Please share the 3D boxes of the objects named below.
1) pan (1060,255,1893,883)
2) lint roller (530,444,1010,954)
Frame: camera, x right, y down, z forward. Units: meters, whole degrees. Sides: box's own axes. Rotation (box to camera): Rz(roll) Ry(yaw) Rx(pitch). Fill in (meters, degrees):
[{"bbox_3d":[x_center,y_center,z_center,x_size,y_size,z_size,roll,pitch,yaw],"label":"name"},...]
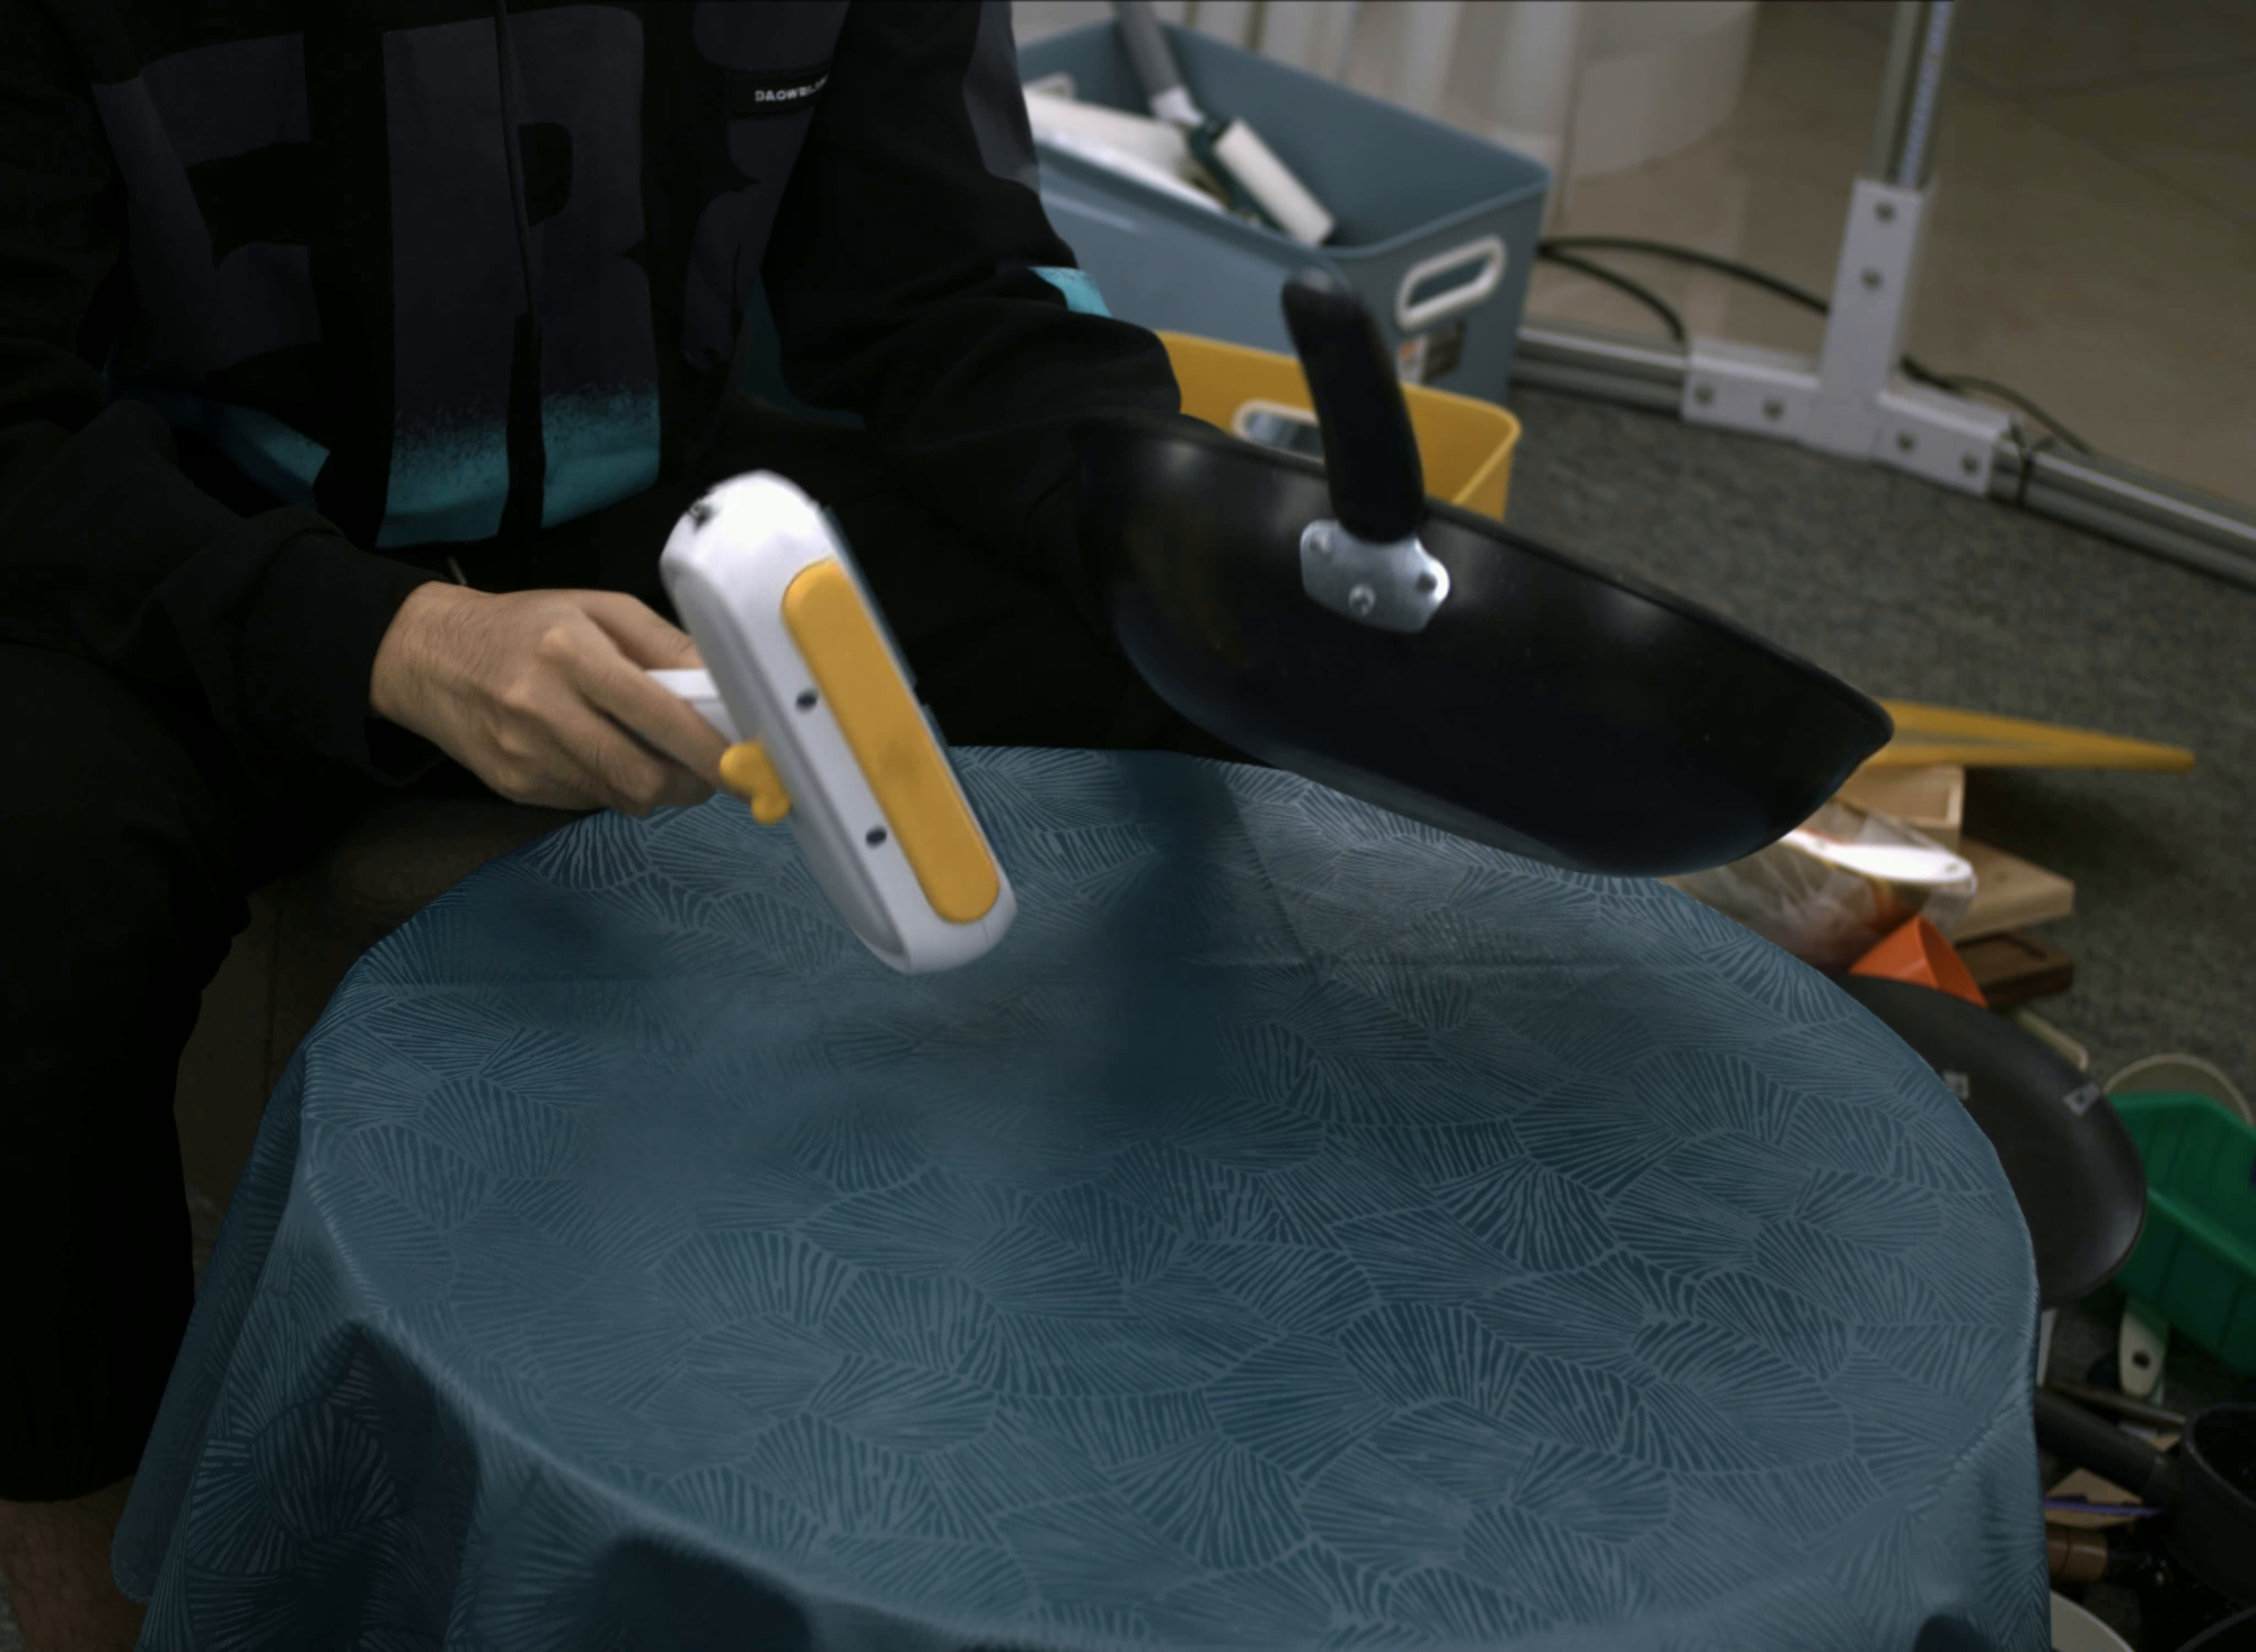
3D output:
[{"bbox_3d":[0.093,-0.074,1.794,0.311,0.112,0.474,19,-6,16],"label":"pan"},{"bbox_3d":[-0.140,-0.041,1.869,0.074,0.192,0.193,-42,26,-25],"label":"lint roller"}]
